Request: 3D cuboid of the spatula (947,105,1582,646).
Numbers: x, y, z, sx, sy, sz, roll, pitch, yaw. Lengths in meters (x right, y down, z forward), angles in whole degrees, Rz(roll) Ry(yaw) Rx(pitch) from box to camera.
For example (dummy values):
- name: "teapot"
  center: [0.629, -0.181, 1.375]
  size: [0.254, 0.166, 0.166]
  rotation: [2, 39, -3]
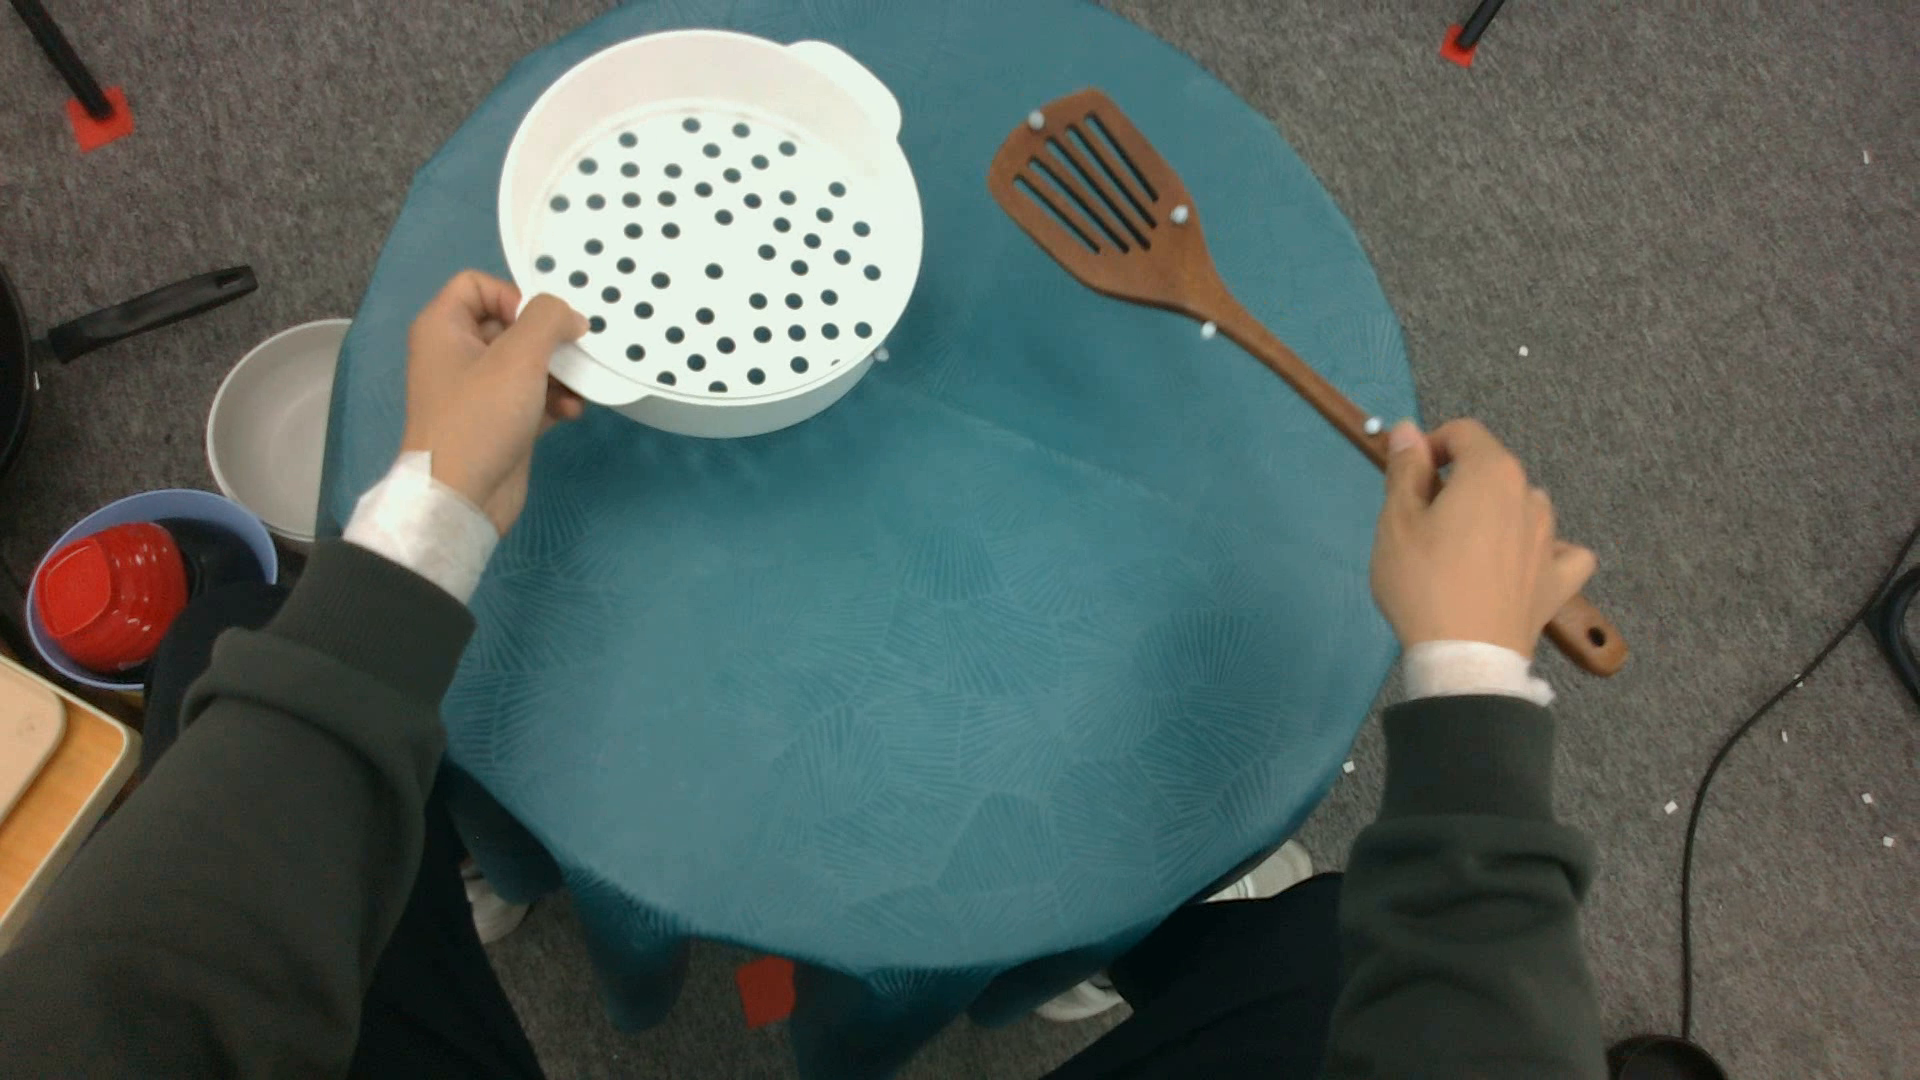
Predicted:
- name: "spatula"
  center: [0.152, -0.082, 0.689]
  size: [0.385, 0.023, 0.086]
  rotation: [42, 72, 13]

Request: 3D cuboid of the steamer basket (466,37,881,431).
- name: "steamer basket"
  center: [-0.143, -0.154, 0.707]
  size: [0.202, 0.069, 0.231]
  rotation: [33, 71, 2]
